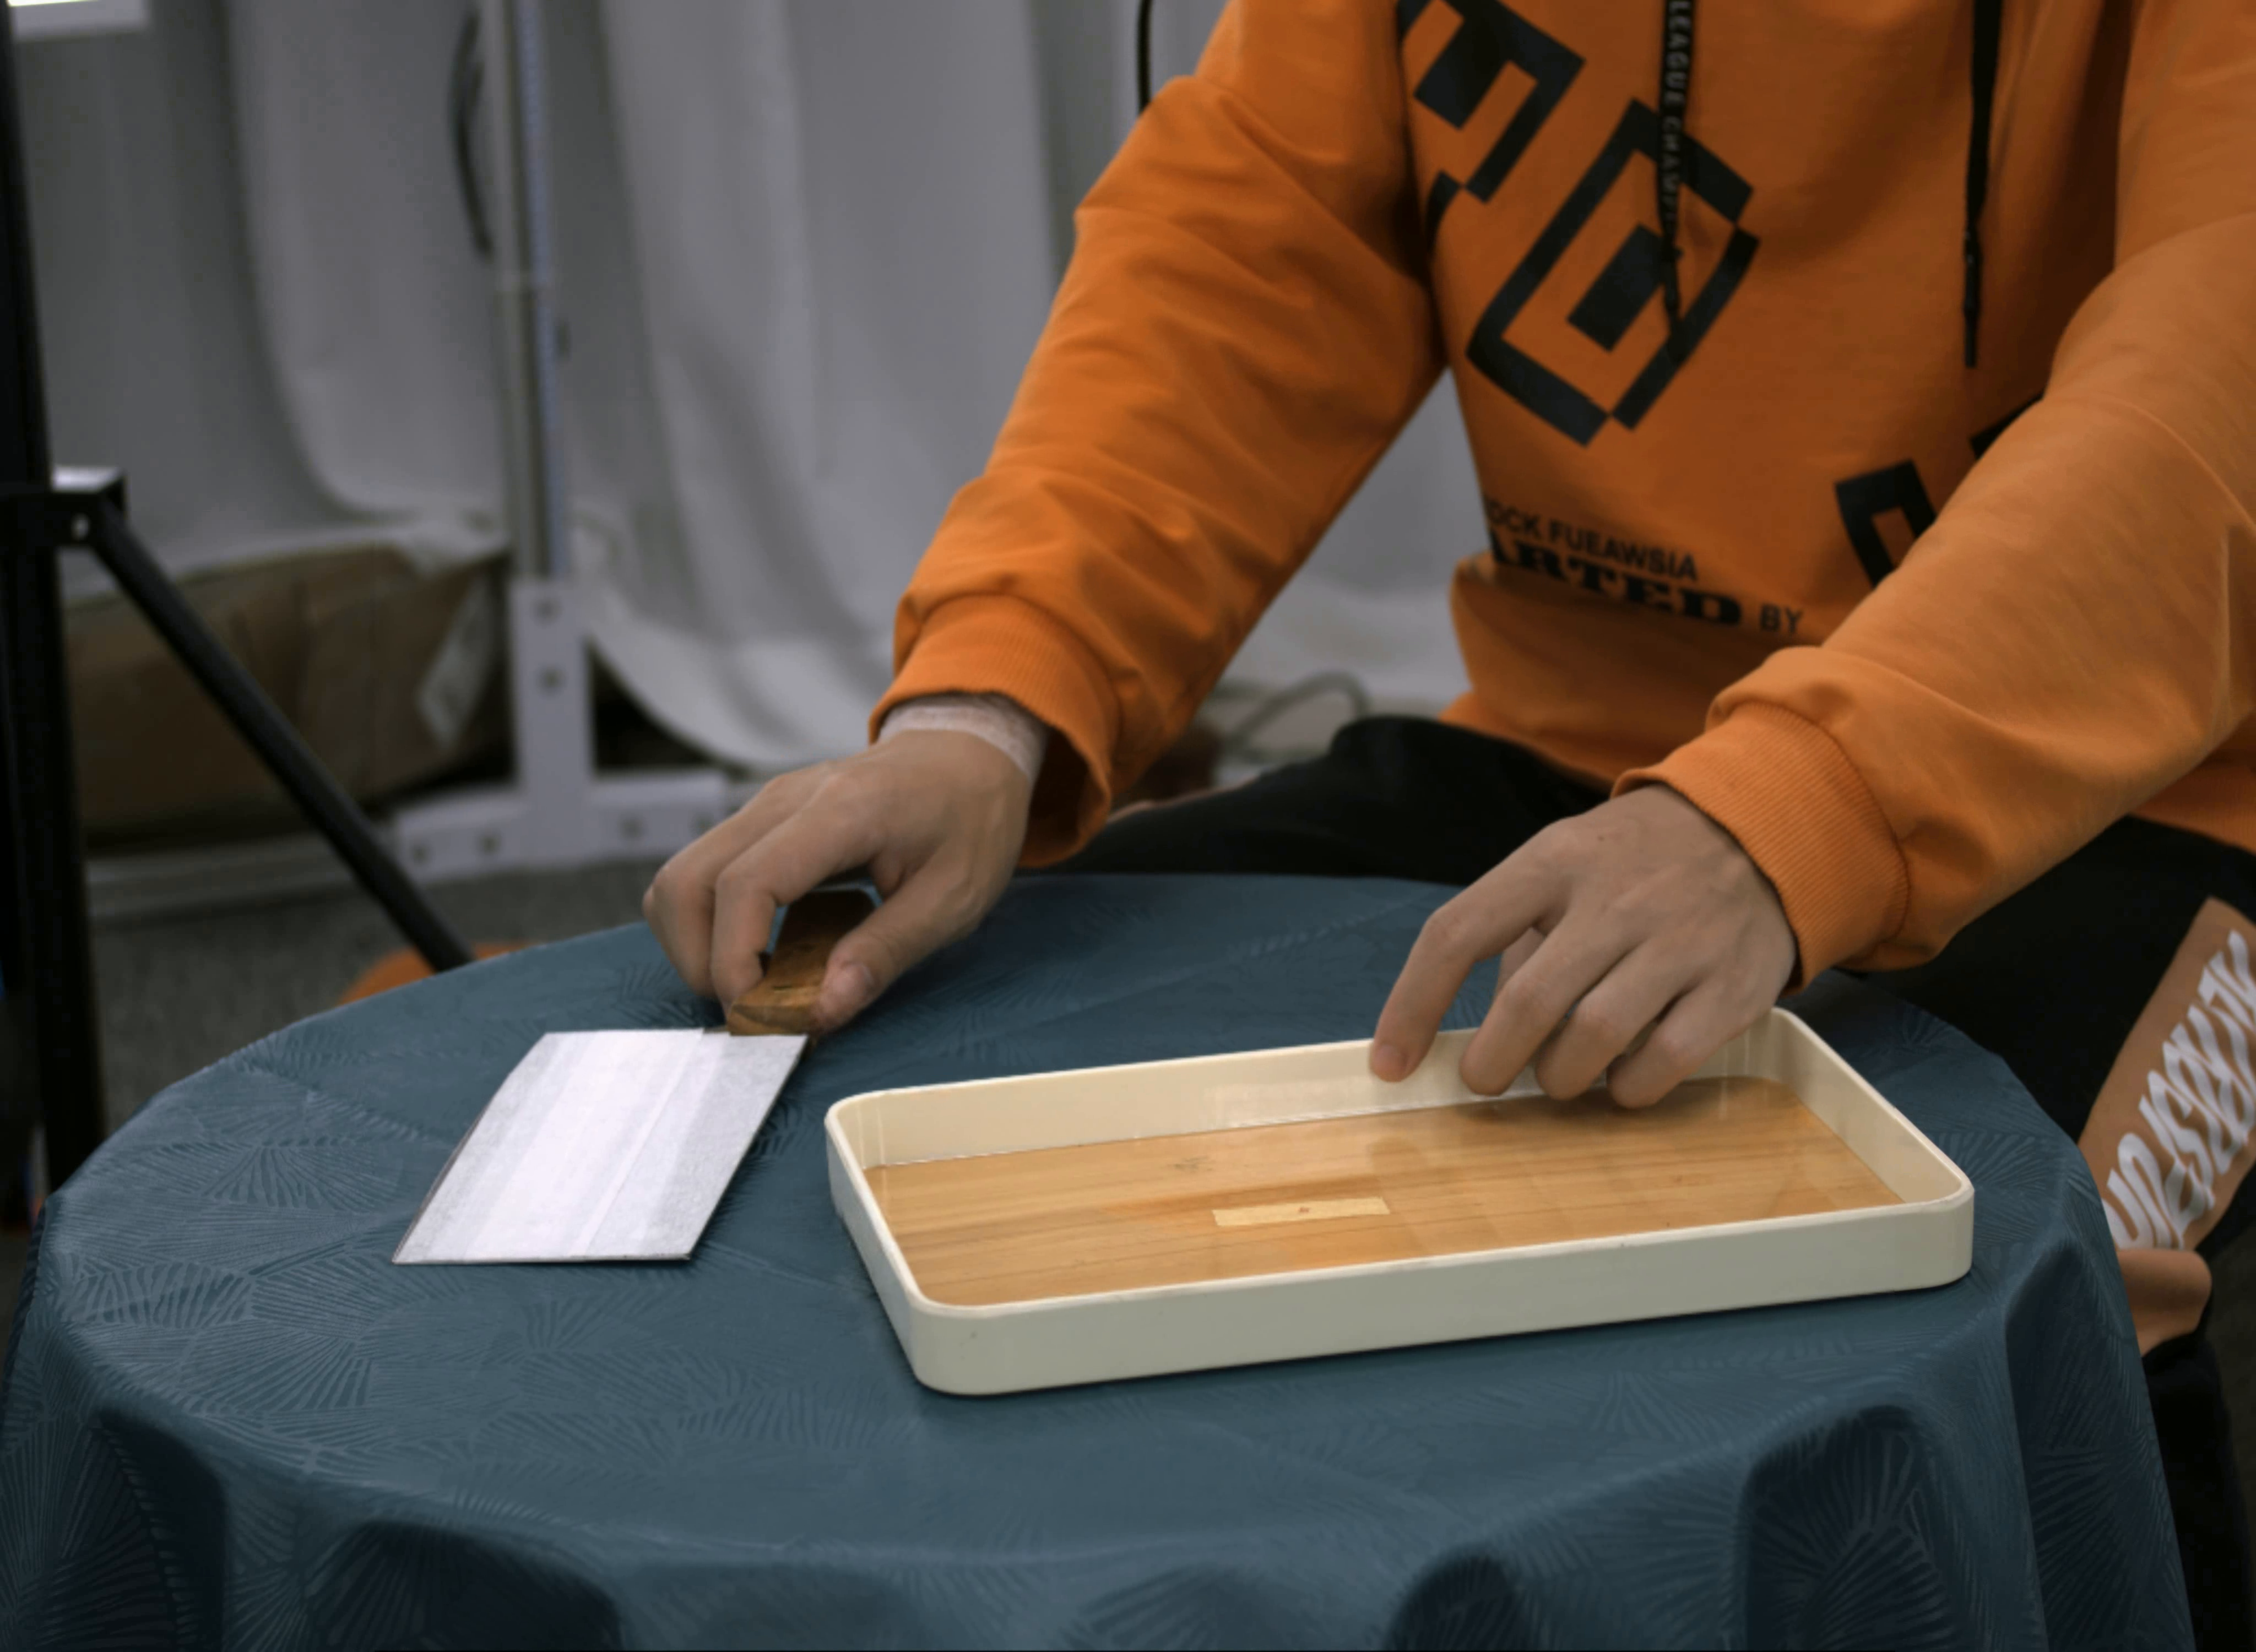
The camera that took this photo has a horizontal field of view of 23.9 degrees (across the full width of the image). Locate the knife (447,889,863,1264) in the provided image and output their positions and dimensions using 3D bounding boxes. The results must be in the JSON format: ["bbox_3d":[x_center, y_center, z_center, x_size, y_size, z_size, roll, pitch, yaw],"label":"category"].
[{"bbox_3d":[-0.146,0.077,1.666,0.093,0.021,0.305,-3,18,9],"label":"knife"}]

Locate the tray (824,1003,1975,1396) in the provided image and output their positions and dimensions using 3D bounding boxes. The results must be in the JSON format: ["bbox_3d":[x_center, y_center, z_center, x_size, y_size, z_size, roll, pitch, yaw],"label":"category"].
[{"bbox_3d":[0.073,0.104,1.509,0.297,0.027,0.194,-6,16,-8],"label":"tray"}]
